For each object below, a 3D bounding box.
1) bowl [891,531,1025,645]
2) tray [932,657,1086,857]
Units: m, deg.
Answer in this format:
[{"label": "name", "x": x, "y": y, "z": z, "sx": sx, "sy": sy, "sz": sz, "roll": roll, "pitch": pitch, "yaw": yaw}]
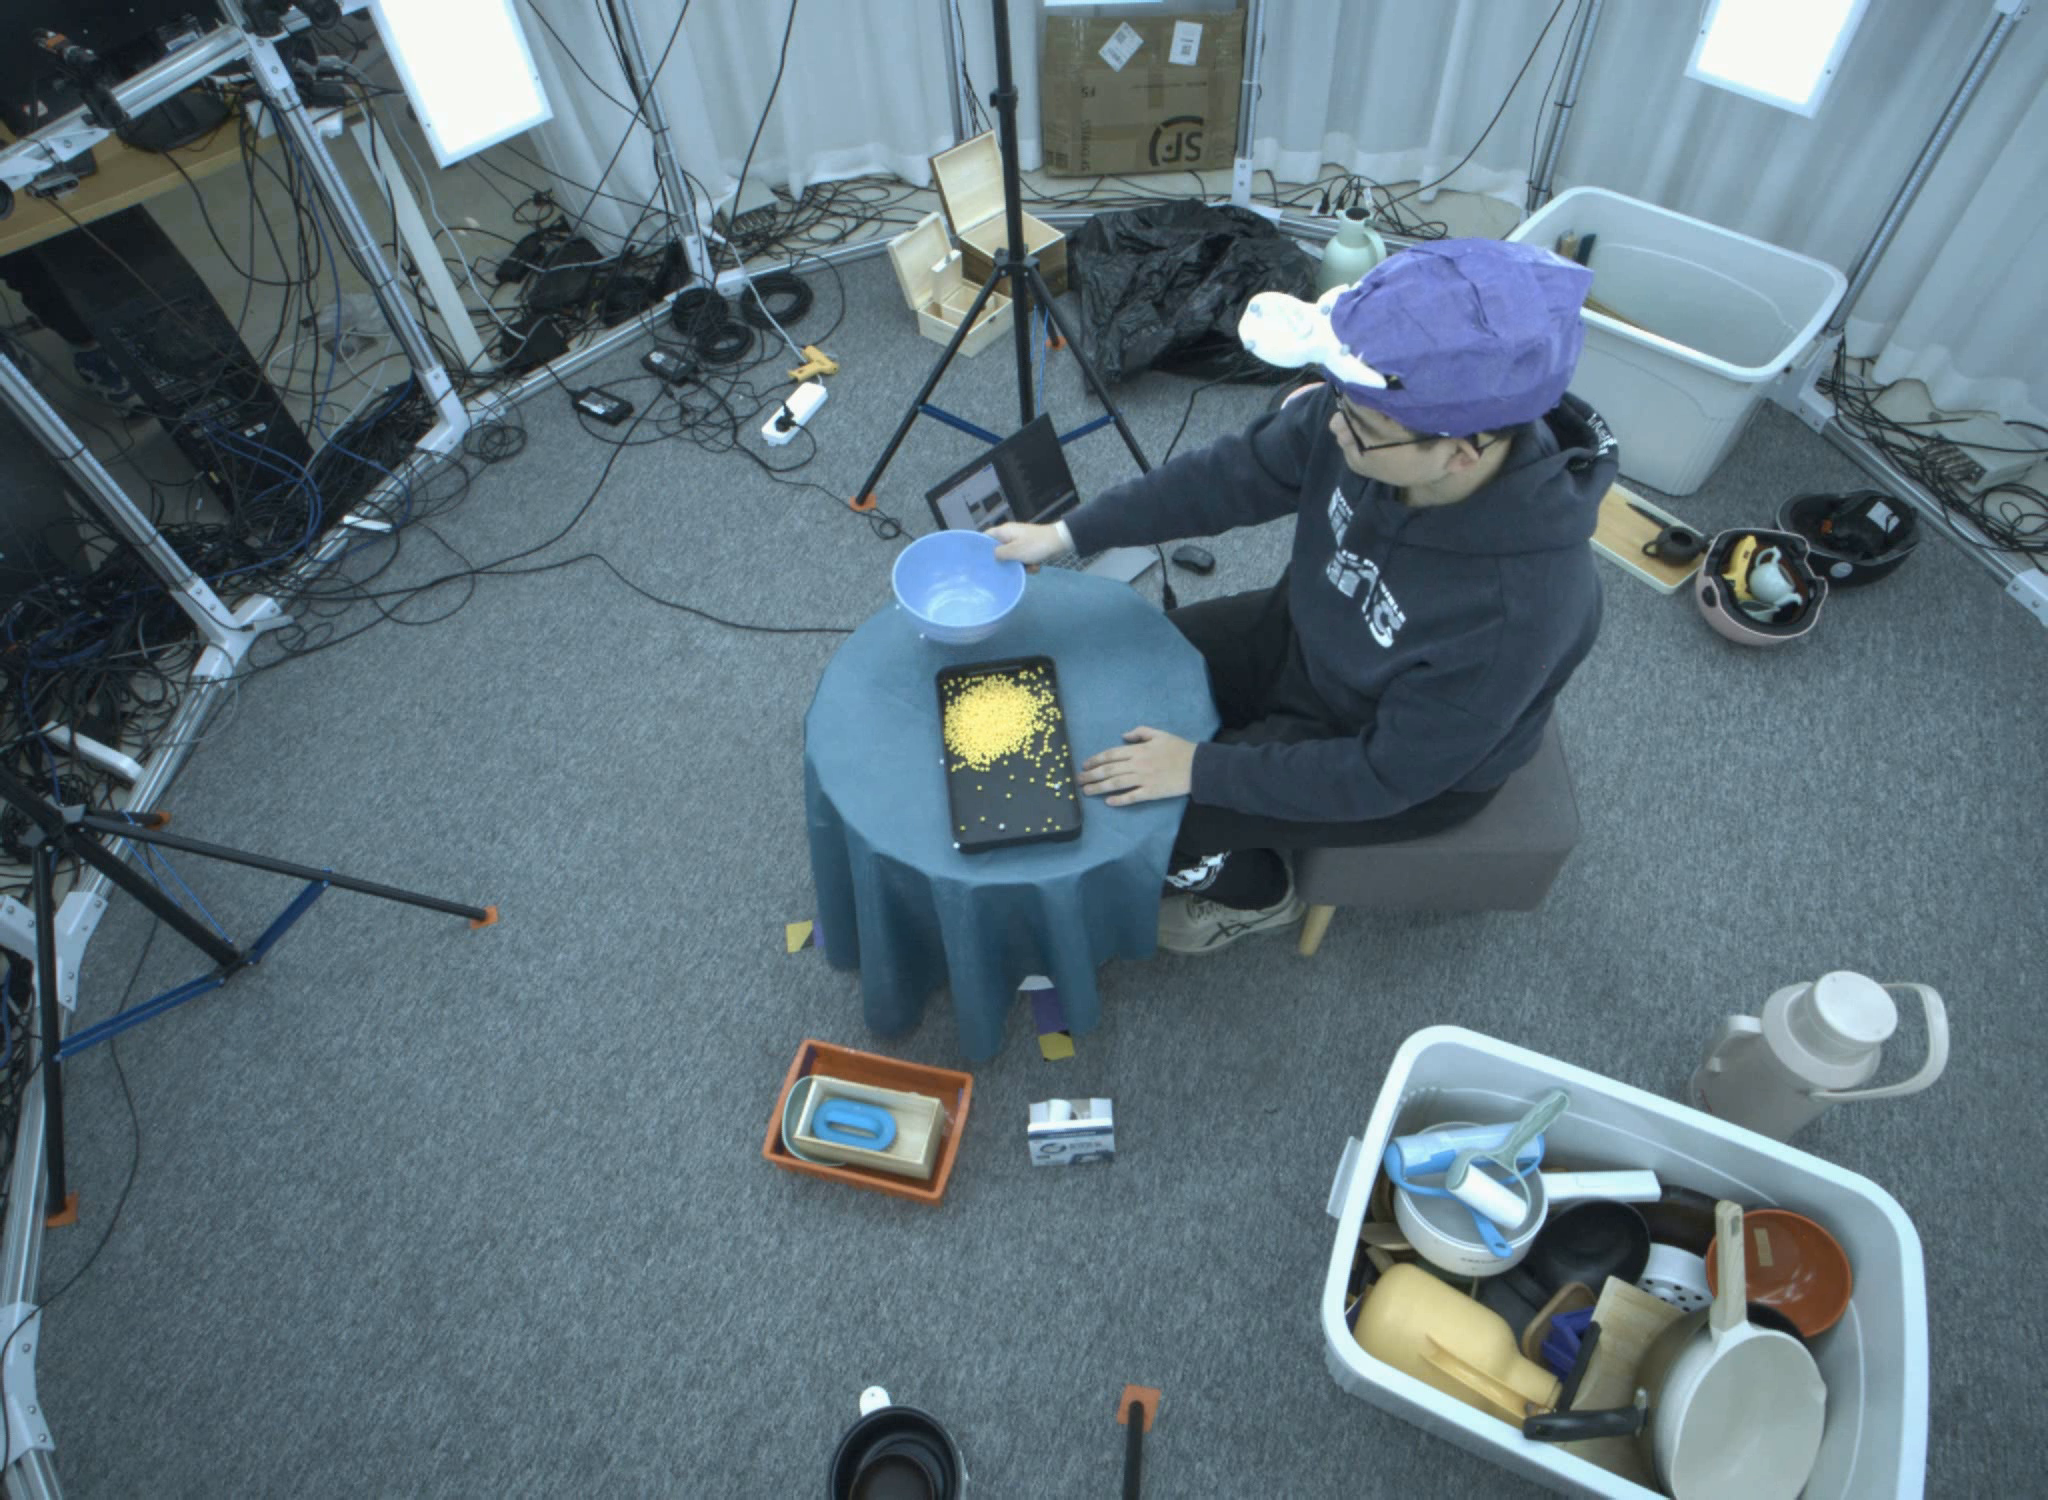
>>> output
[{"label": "bowl", "x": -0.099, "y": -0.227, "z": 1.830, "sx": 0.197, "sy": 0.096, "sz": 0.194, "roll": 3, "pitch": 54, "yaw": -3}, {"label": "tray", "x": -0.025, "y": 0.005, "z": 1.765, "sx": 0.185, "sy": 0.037, "sz": 0.313, "roll": -8, "pitch": 54, "yaw": -5}]
